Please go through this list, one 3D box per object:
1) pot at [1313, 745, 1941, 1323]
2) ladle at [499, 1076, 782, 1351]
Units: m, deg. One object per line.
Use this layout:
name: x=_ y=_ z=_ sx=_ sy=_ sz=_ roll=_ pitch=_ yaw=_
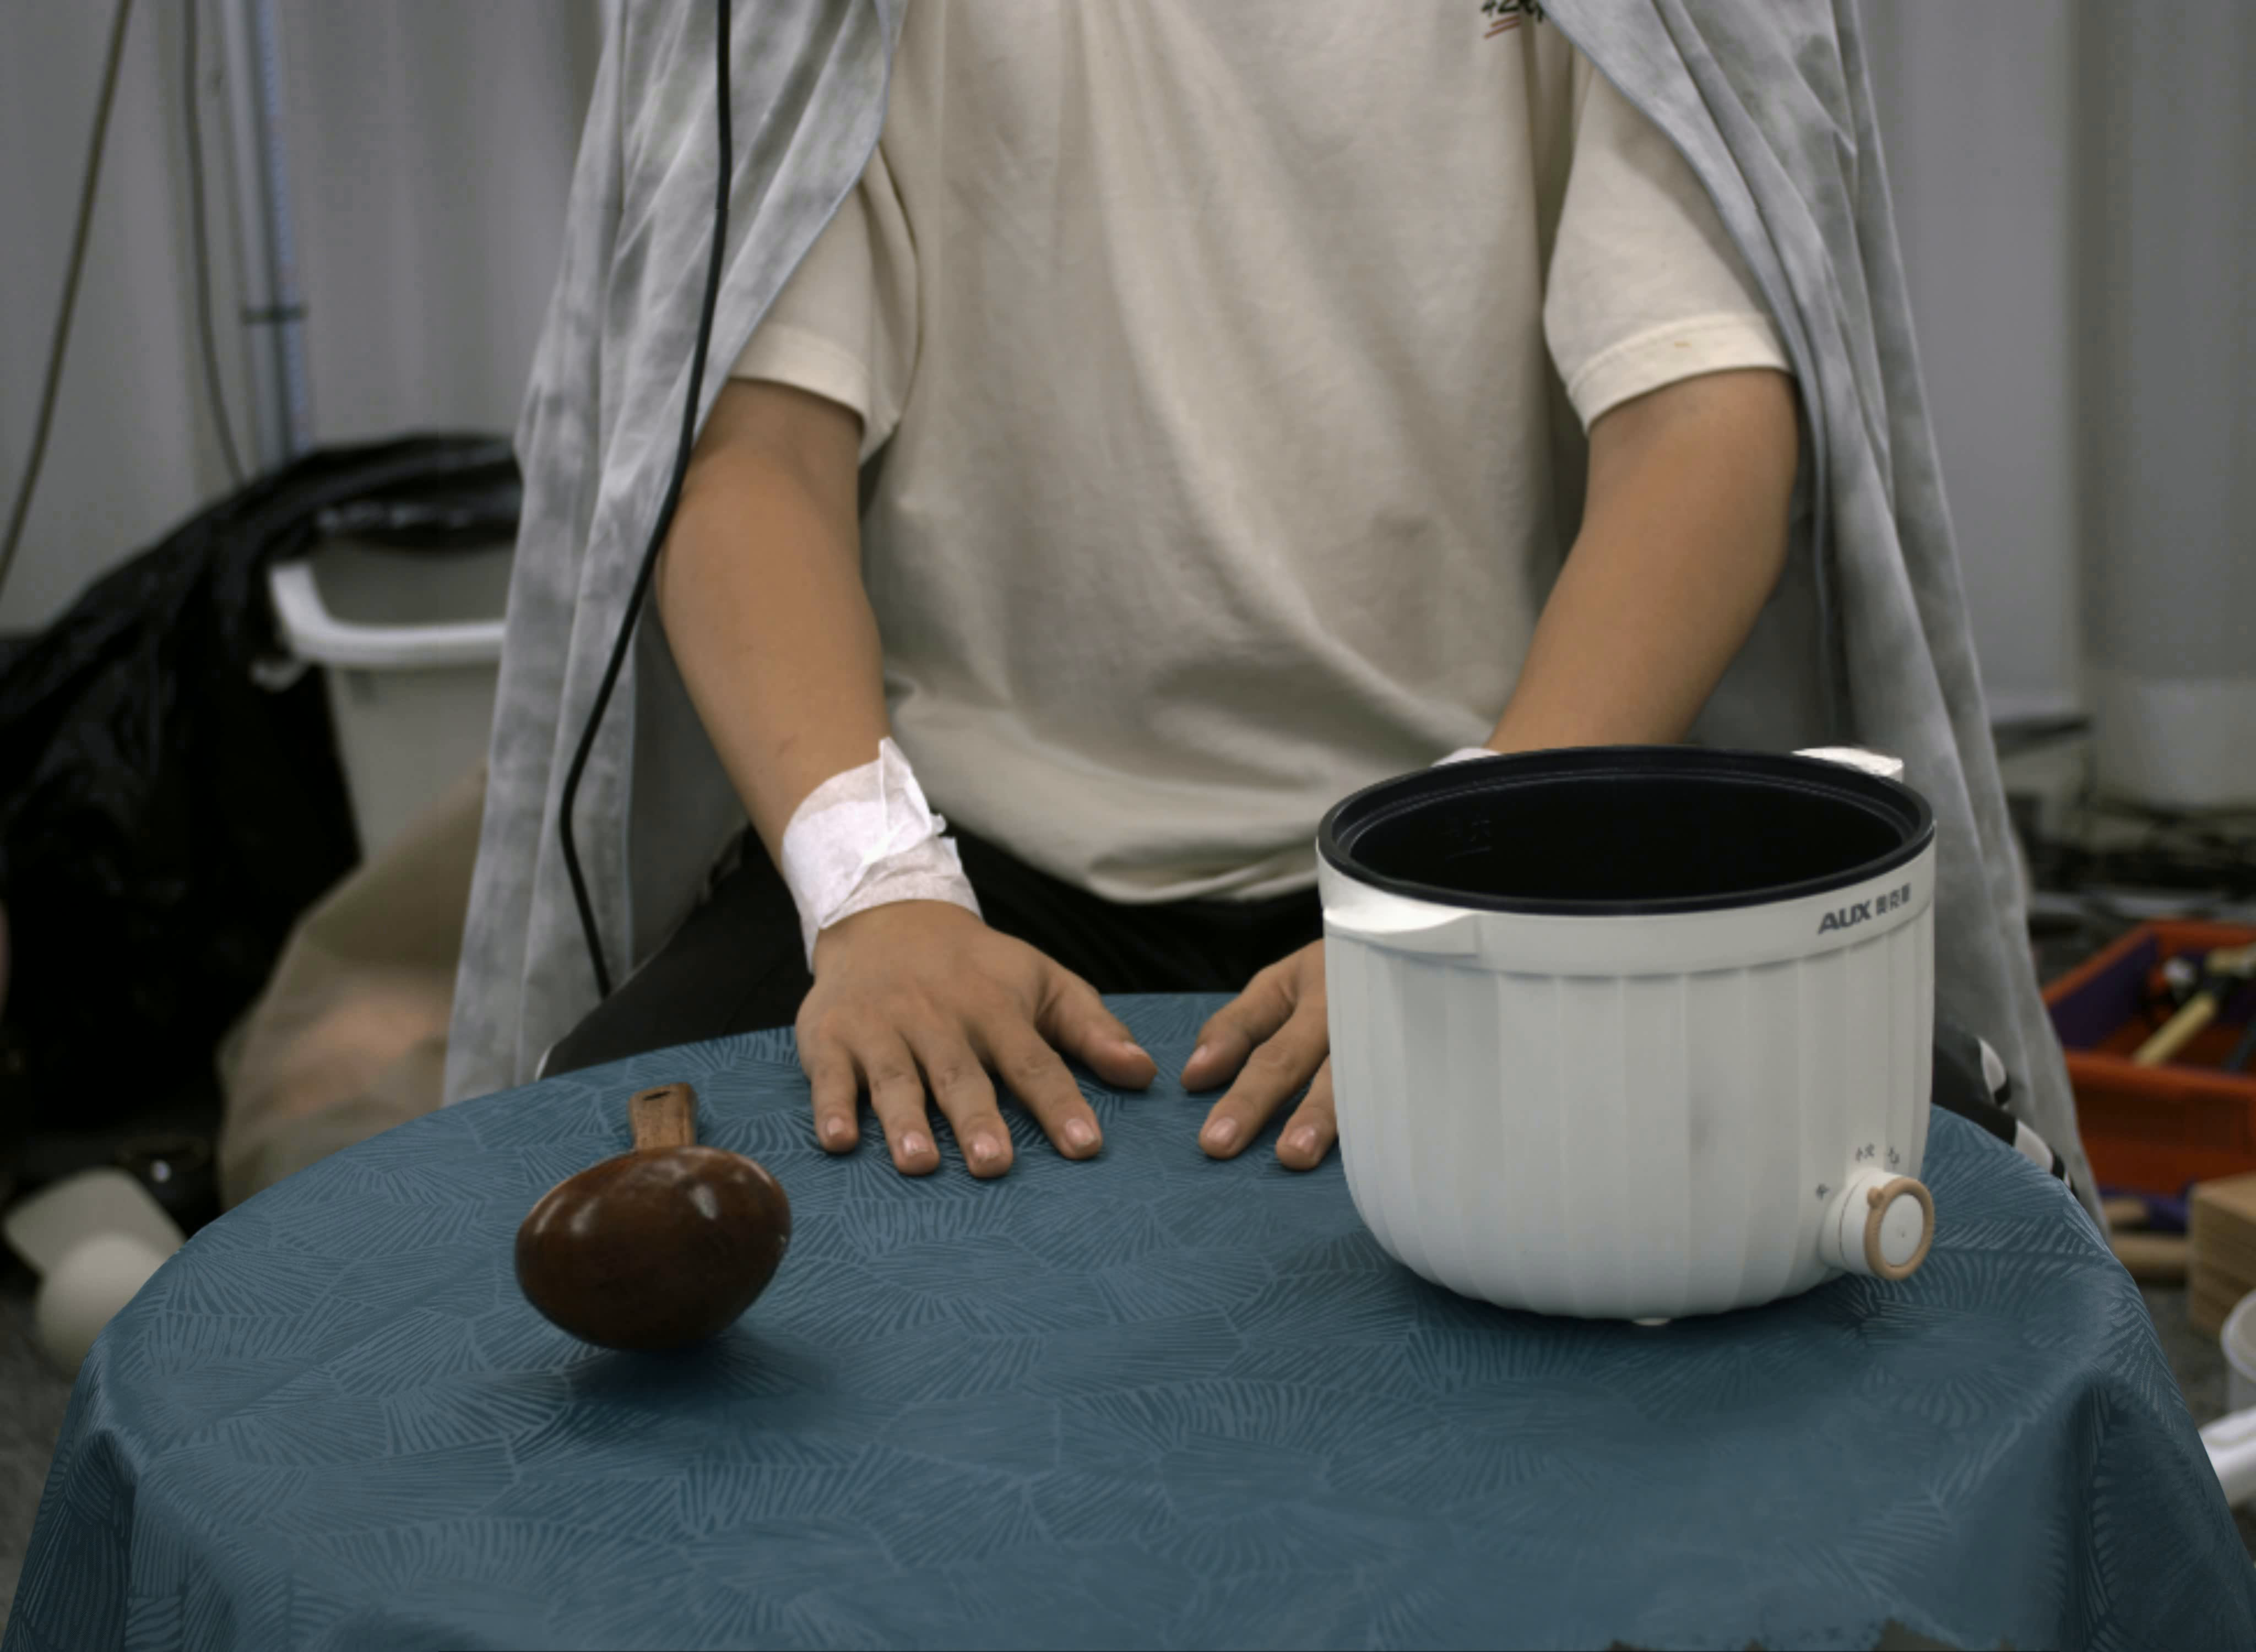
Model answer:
pot: x=0.153 y=0.063 z=1.617 sx=0.240 sy=0.142 sz=0.191 roll=-18 pitch=17 yaw=-42
ladle: x=-0.147 y=0.095 z=1.672 sx=0.081 sy=0.076 sz=0.276 roll=-12 pitch=16 yaw=-1
